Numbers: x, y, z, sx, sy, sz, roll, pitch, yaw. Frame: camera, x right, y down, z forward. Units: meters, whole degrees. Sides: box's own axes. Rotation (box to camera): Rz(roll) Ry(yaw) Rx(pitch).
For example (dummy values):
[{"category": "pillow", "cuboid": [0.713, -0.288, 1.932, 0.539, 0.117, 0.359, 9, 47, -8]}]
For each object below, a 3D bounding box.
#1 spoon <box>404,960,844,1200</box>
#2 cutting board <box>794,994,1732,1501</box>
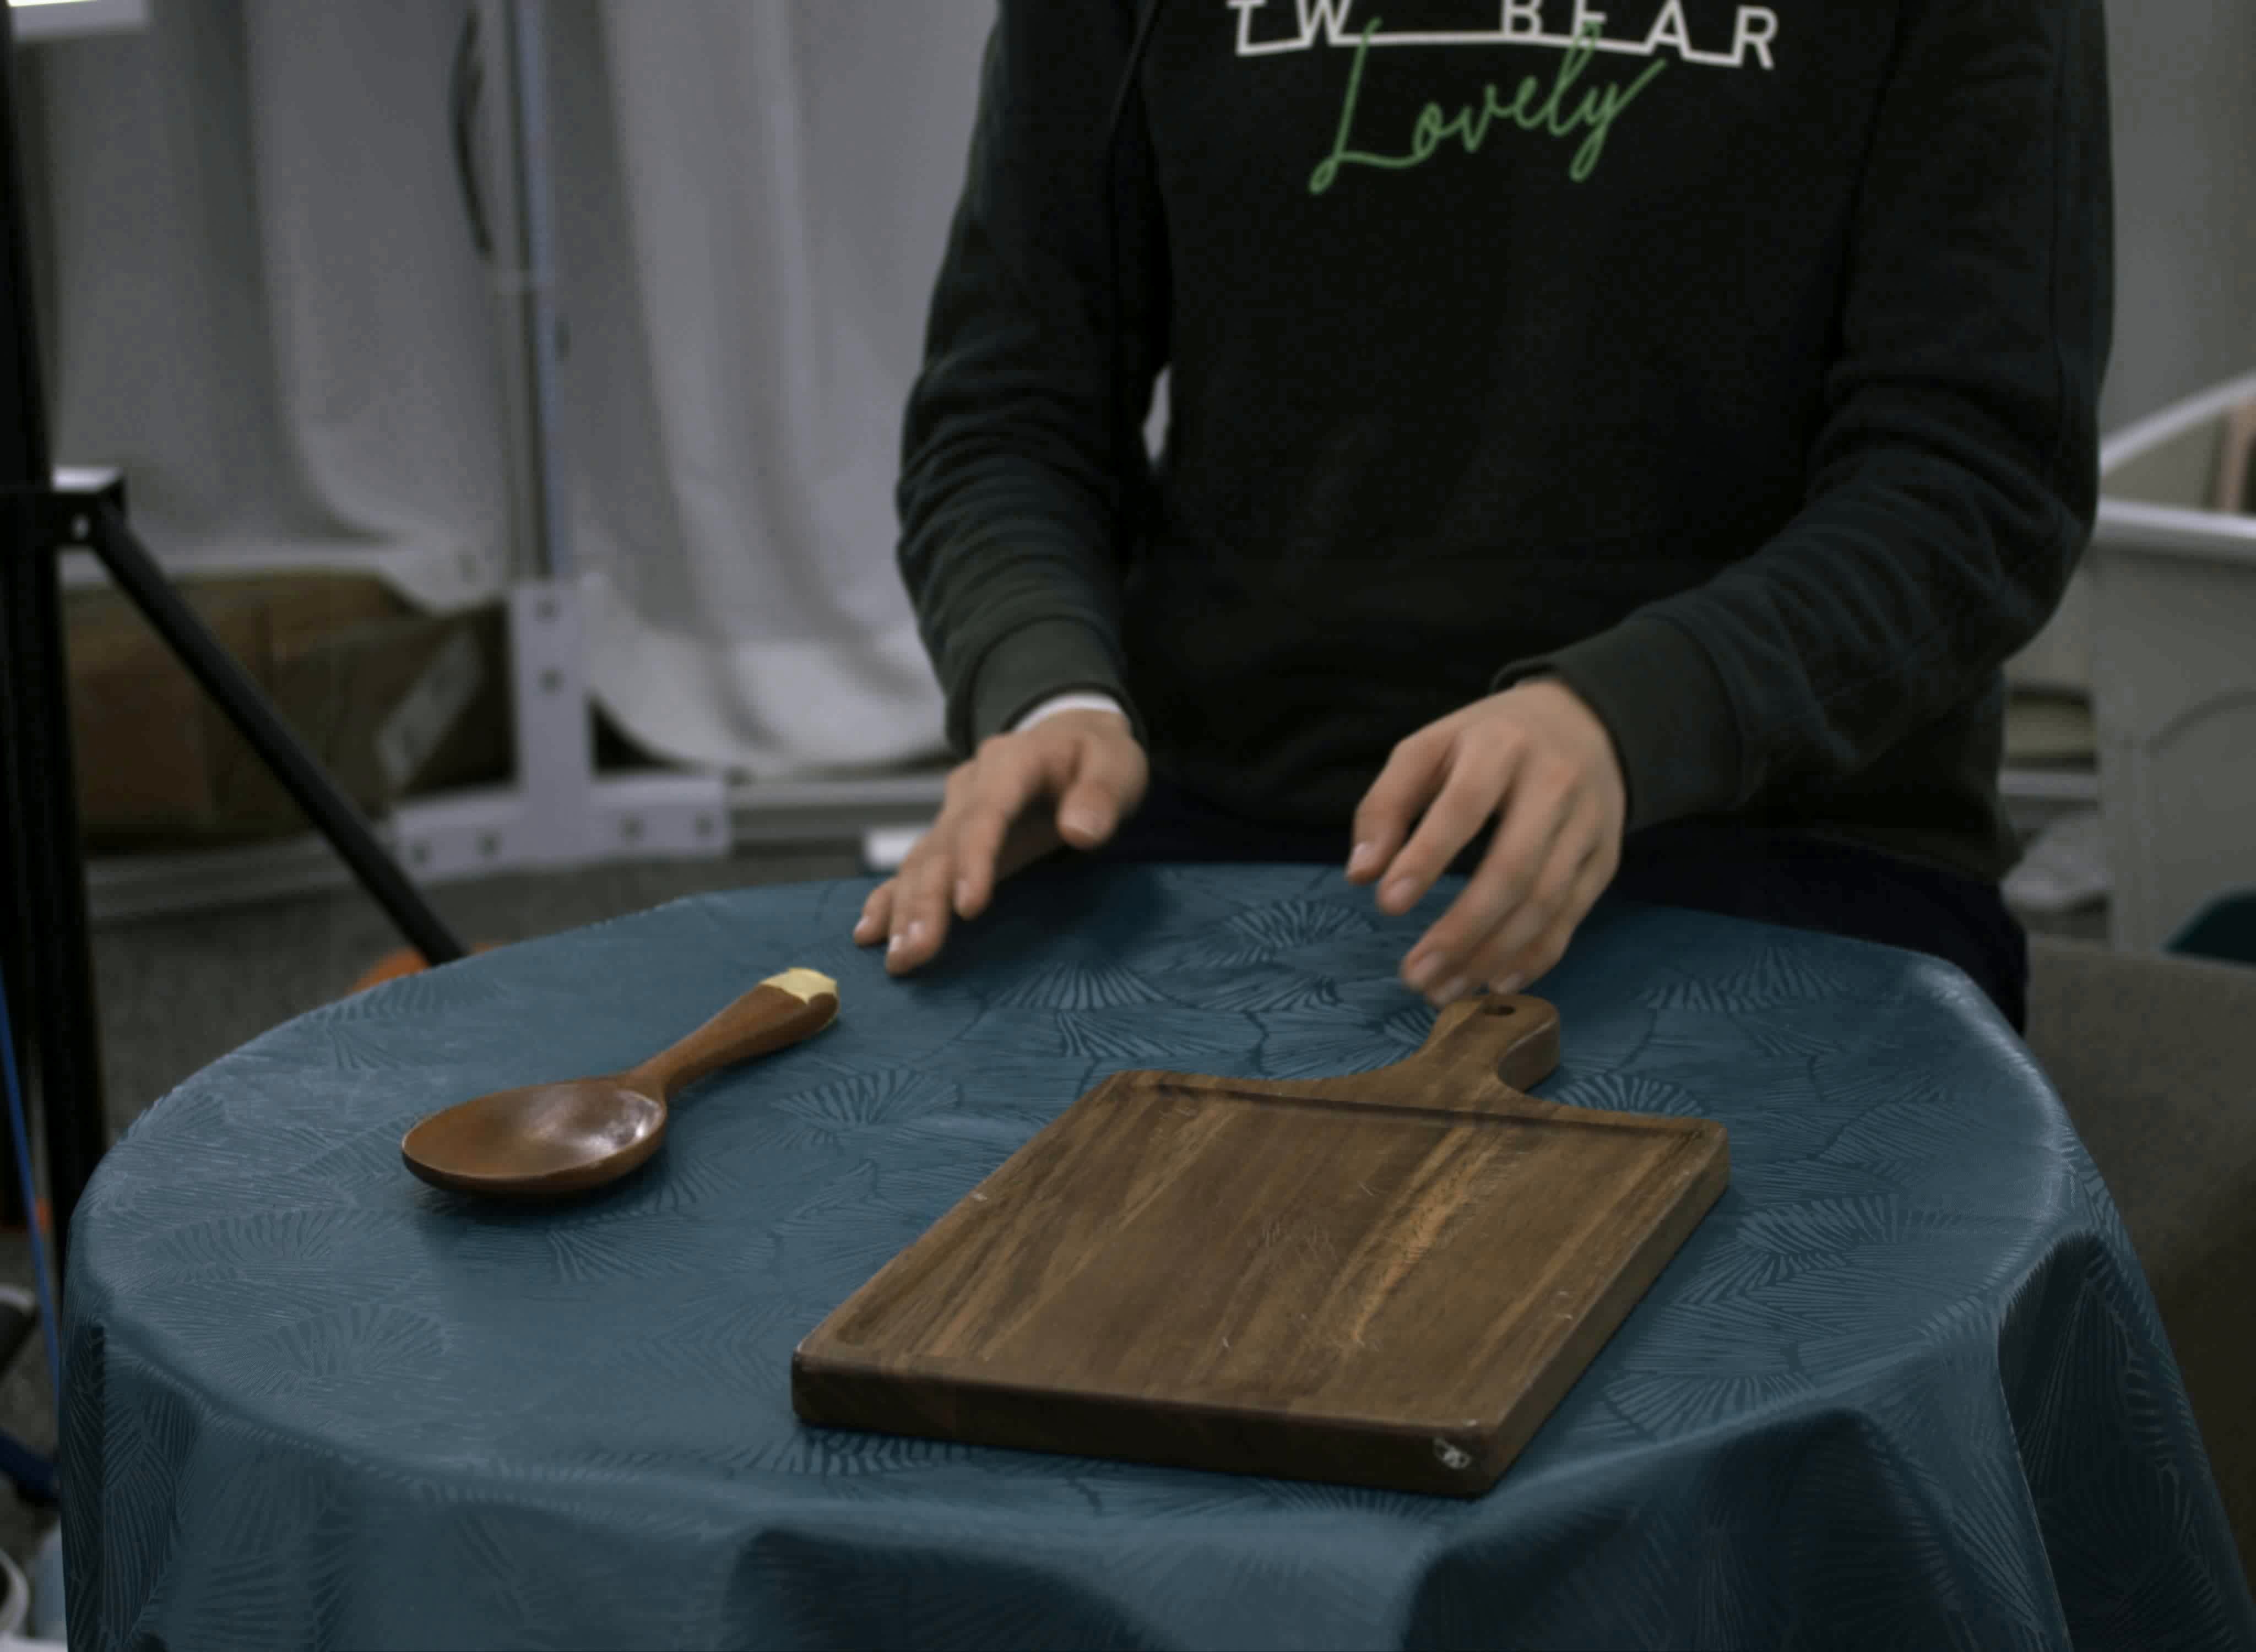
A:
[{"category": "spoon", "cuboid": [-0.147, 0.080, 1.649, 0.077, 0.017, 0.212, 4, 18, 27]}, {"category": "cutting board", "cuboid": [0.061, 0.110, 1.509, 0.203, 0.023, 0.348, 3, 17, 21]}]
